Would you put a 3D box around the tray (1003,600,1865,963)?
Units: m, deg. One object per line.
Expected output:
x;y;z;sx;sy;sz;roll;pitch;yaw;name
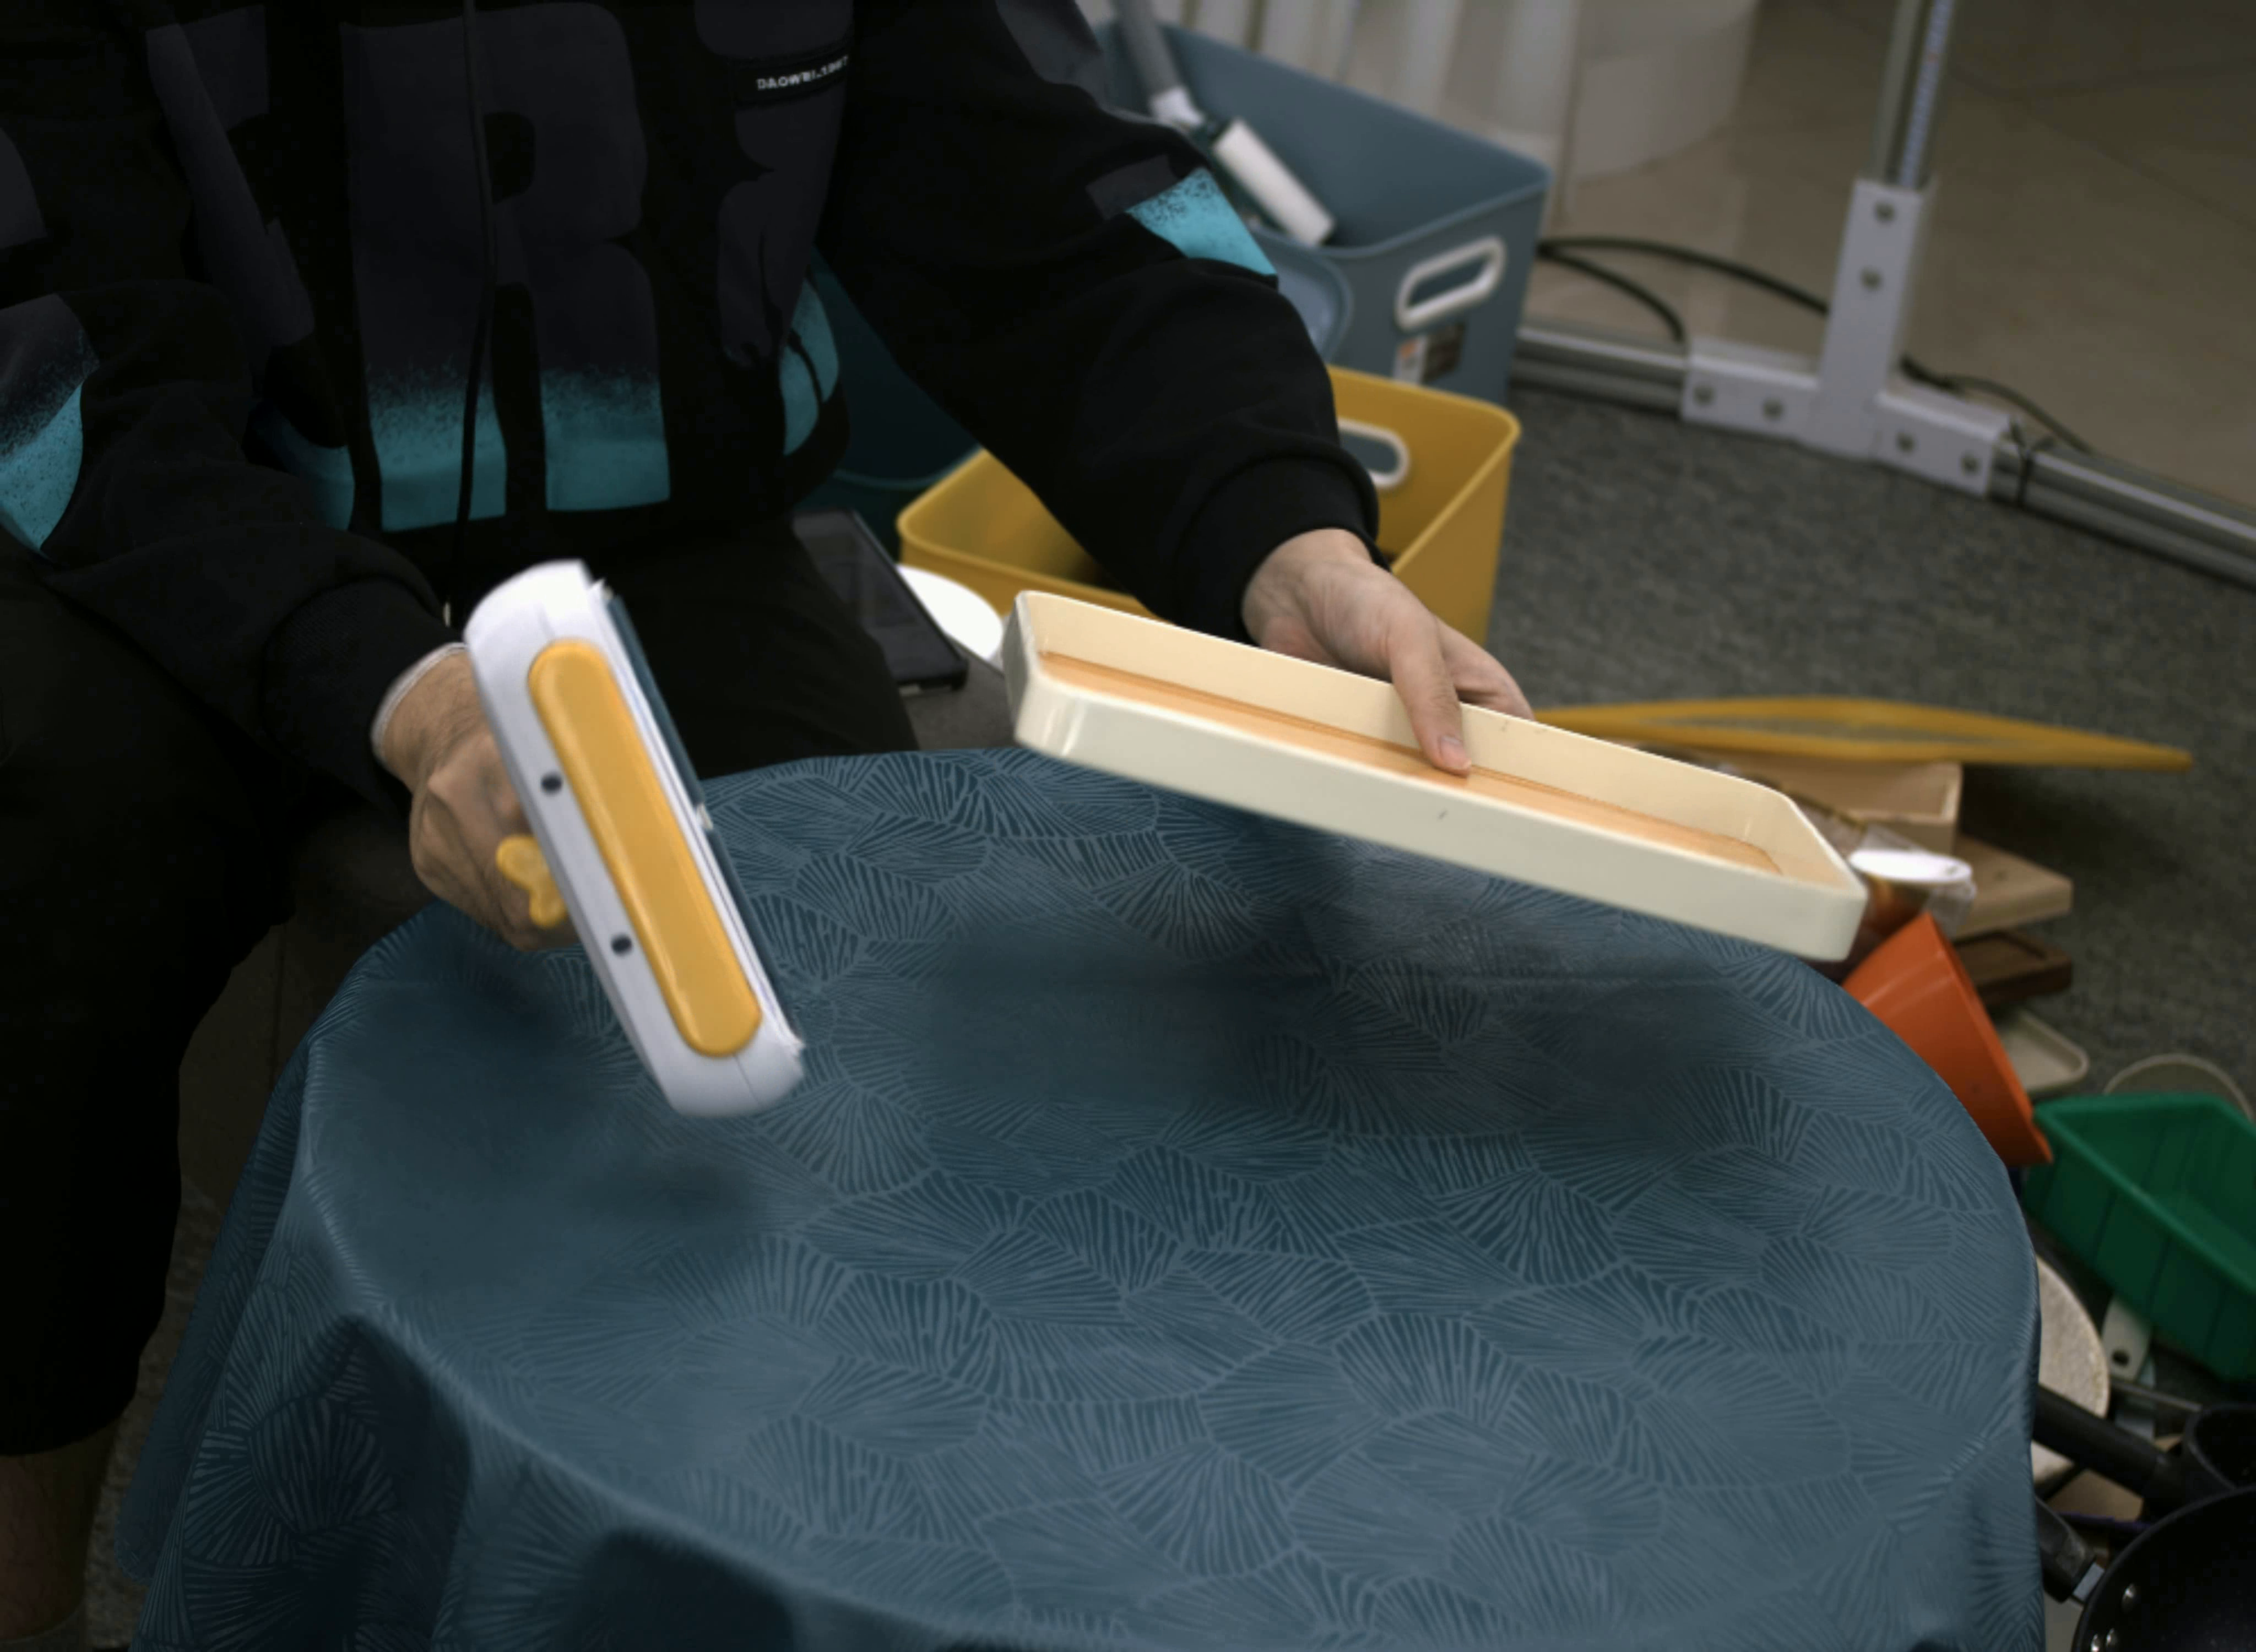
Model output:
0.102;-0.017;1.882;0.299;0.027;0.192;15;11;-4;tray

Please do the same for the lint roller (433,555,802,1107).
-0.181;0.006;1.803;0.074;0.193;0.193;-31;4;-8;lint roller
